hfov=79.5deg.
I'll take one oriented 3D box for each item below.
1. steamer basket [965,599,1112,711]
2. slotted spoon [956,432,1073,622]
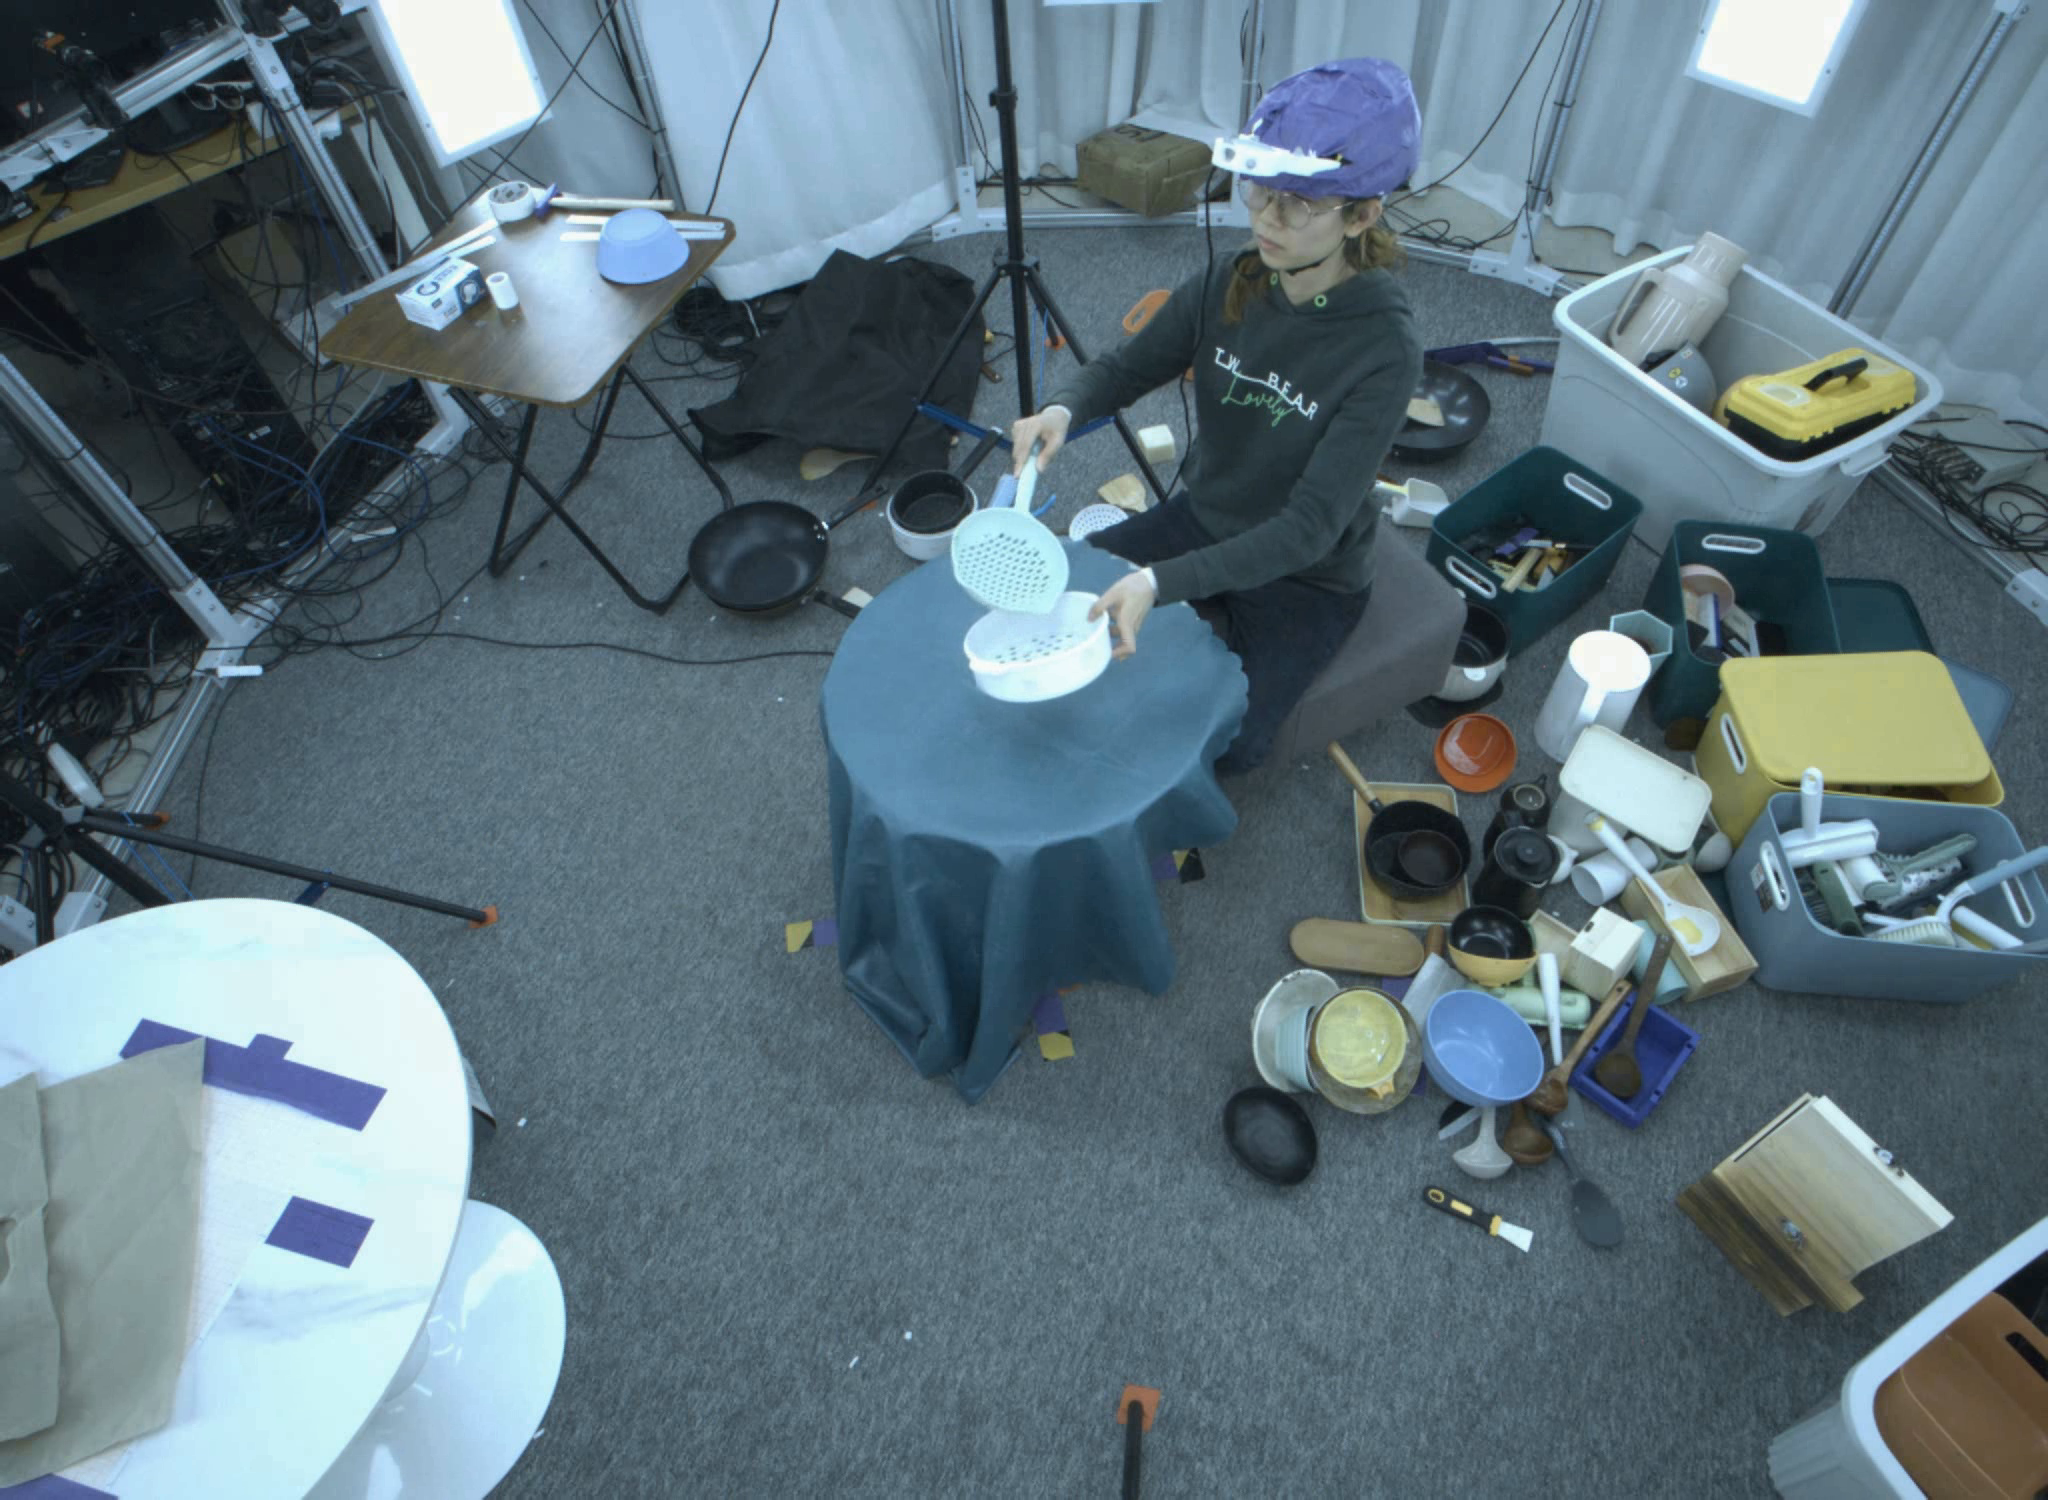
[{"bbox_3d":[0.022,-0.129,1.690,0.197,0.070,0.232,15,42,35],"label":"steamer basket"},{"bbox_3d":[-0.002,-0.331,1.734,0.171,0.075,0.357,19,67,-16],"label":"slotted spoon"}]
